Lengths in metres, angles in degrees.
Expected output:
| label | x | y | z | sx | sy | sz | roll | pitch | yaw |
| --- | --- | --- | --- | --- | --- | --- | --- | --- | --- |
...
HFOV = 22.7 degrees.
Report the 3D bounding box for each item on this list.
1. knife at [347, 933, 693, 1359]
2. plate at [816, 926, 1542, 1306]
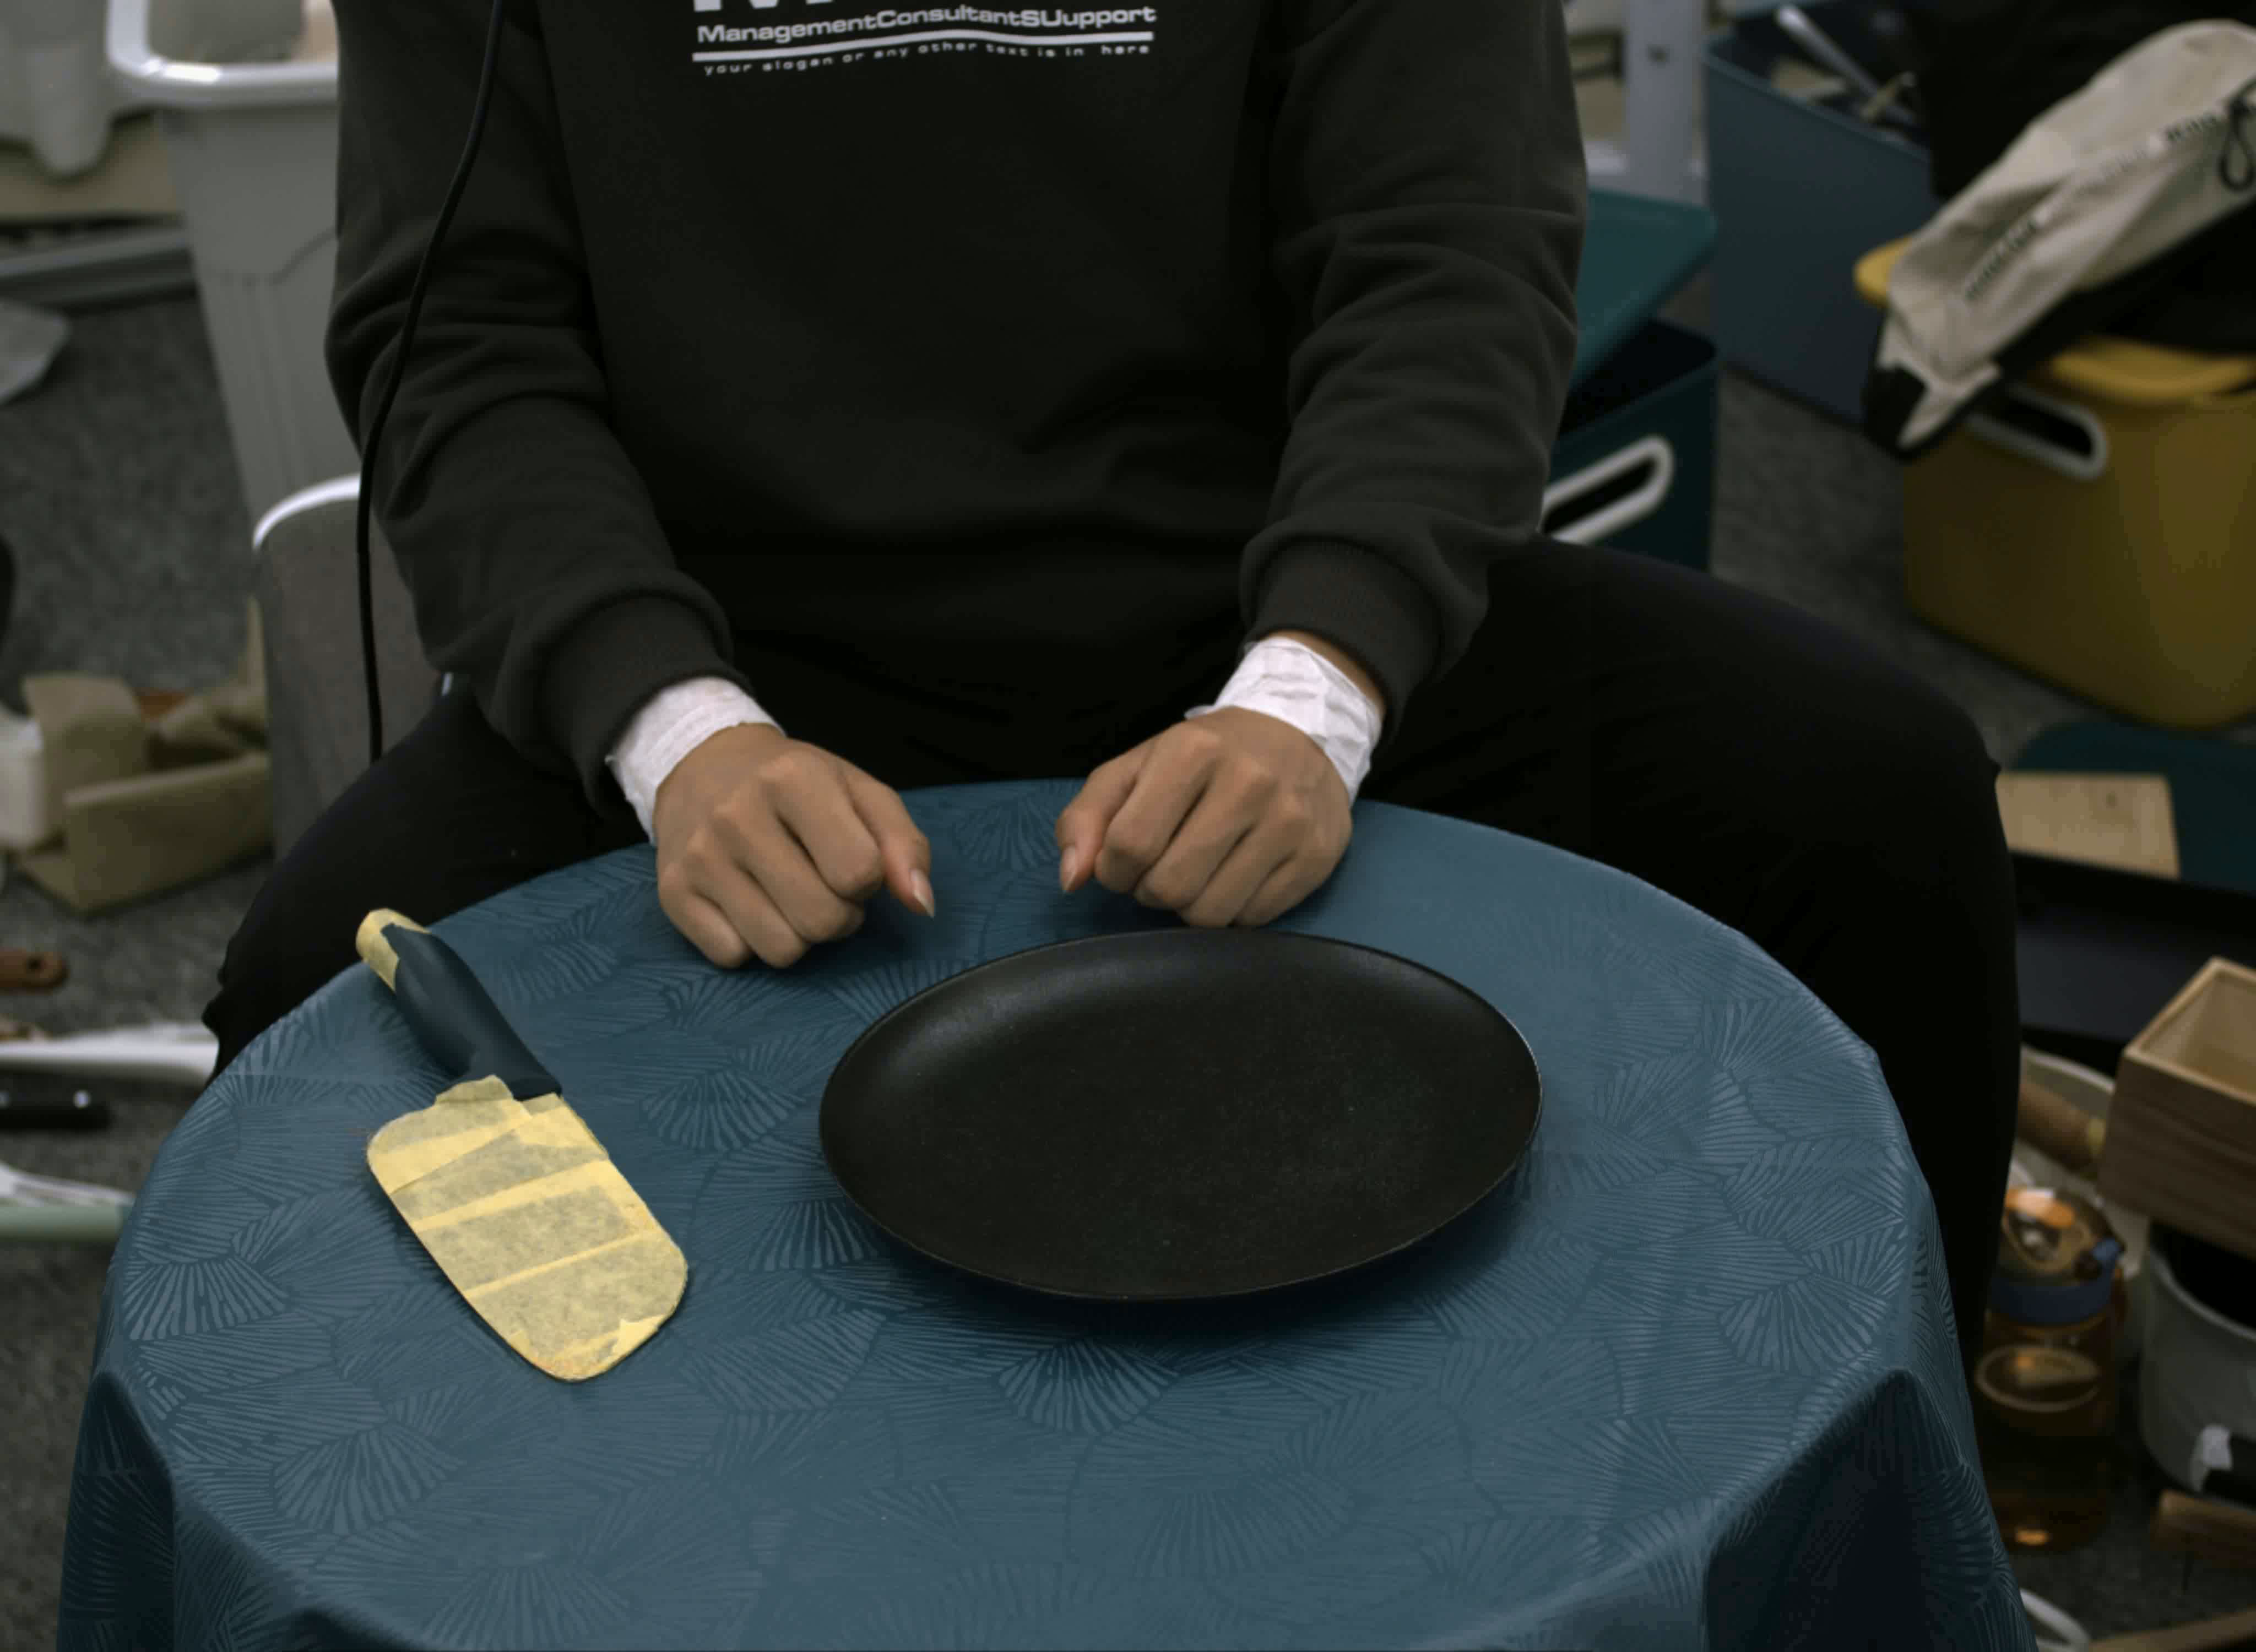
| label | x | y | z | sx | sy | sz | roll | pitch | yaw |
| --- | --- | --- | --- | --- | --- | --- | --- | --- | --- |
| knife | -0.220 | 0.108 | 1.894 | 0.081 | 0.027 | 0.291 | -12 | 29 | -21 |
| plate | 0.017 | 0.101 | 1.875 | 0.243 | 0.023 | 0.248 | -2 | 27 | 1 |
